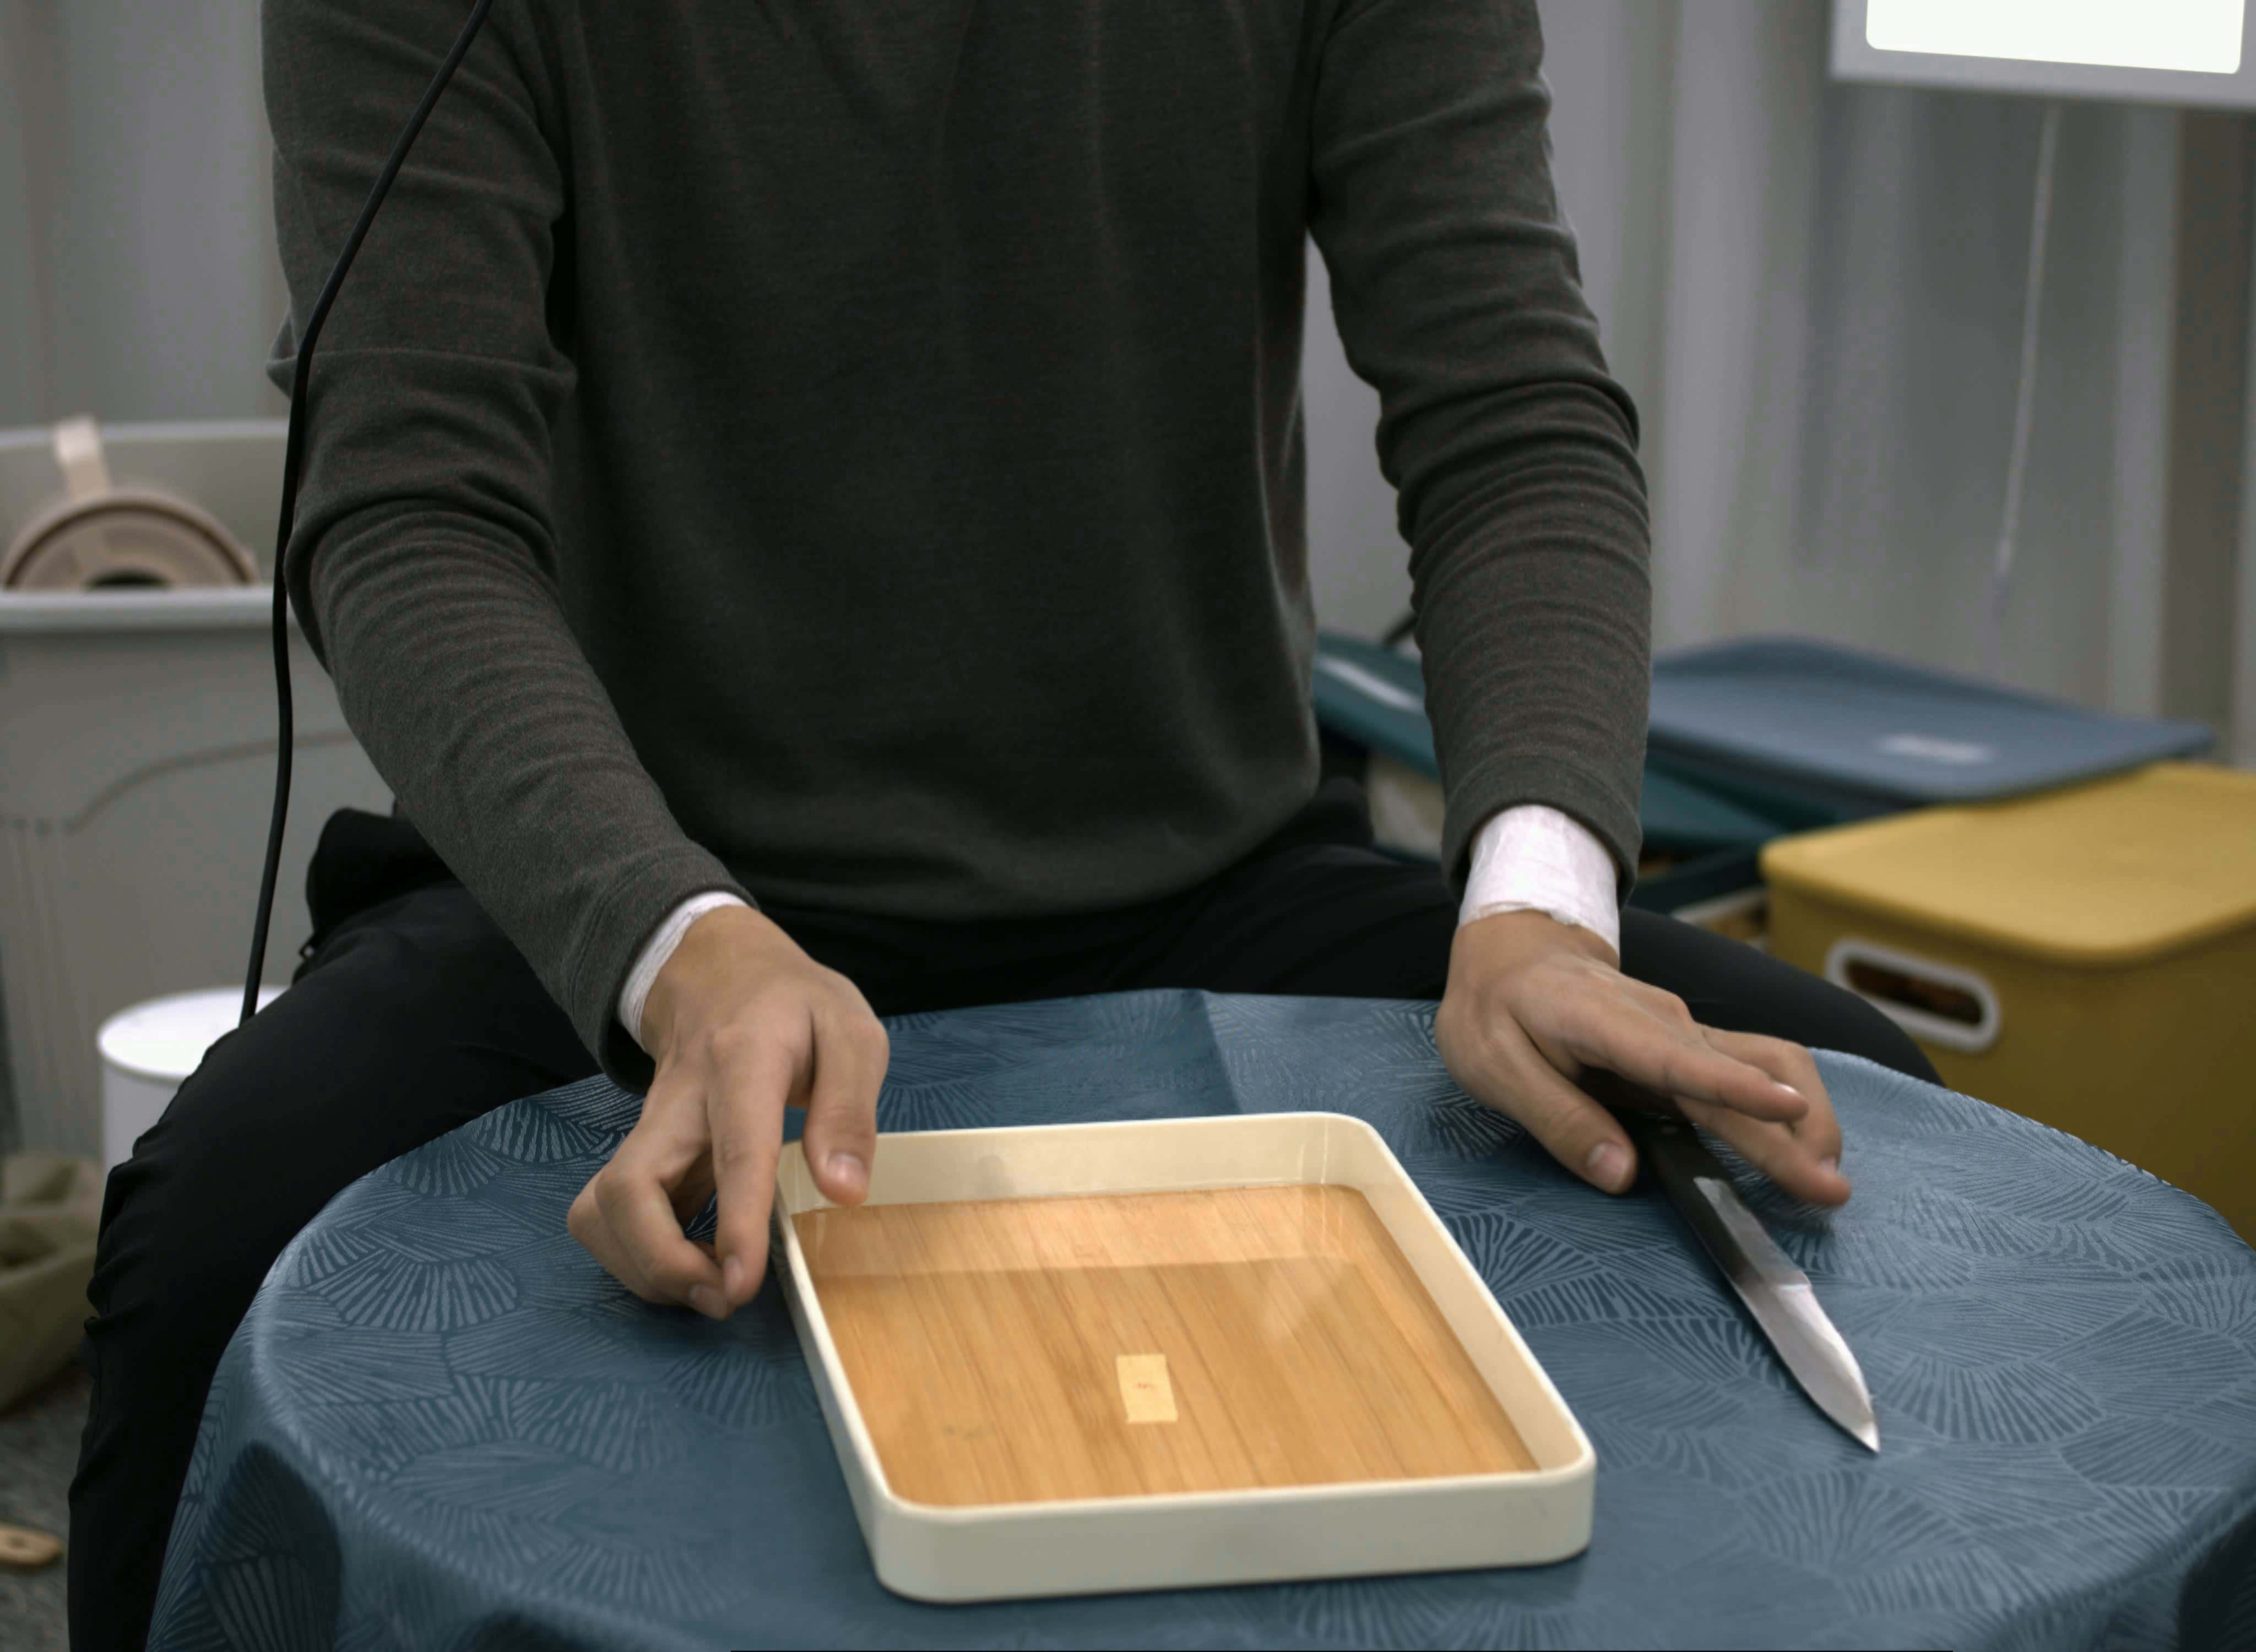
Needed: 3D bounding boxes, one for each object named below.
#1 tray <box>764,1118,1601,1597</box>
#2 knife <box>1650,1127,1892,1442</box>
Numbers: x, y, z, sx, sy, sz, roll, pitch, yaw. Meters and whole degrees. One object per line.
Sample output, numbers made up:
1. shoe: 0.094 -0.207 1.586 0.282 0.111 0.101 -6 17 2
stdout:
1. tray: 0.006 0.142 1.467 0.191 0.027 0.298 -1 15 -10
2. knife: 0.185 0.133 1.532 0.024 0.016 0.236 -8 17 -6
